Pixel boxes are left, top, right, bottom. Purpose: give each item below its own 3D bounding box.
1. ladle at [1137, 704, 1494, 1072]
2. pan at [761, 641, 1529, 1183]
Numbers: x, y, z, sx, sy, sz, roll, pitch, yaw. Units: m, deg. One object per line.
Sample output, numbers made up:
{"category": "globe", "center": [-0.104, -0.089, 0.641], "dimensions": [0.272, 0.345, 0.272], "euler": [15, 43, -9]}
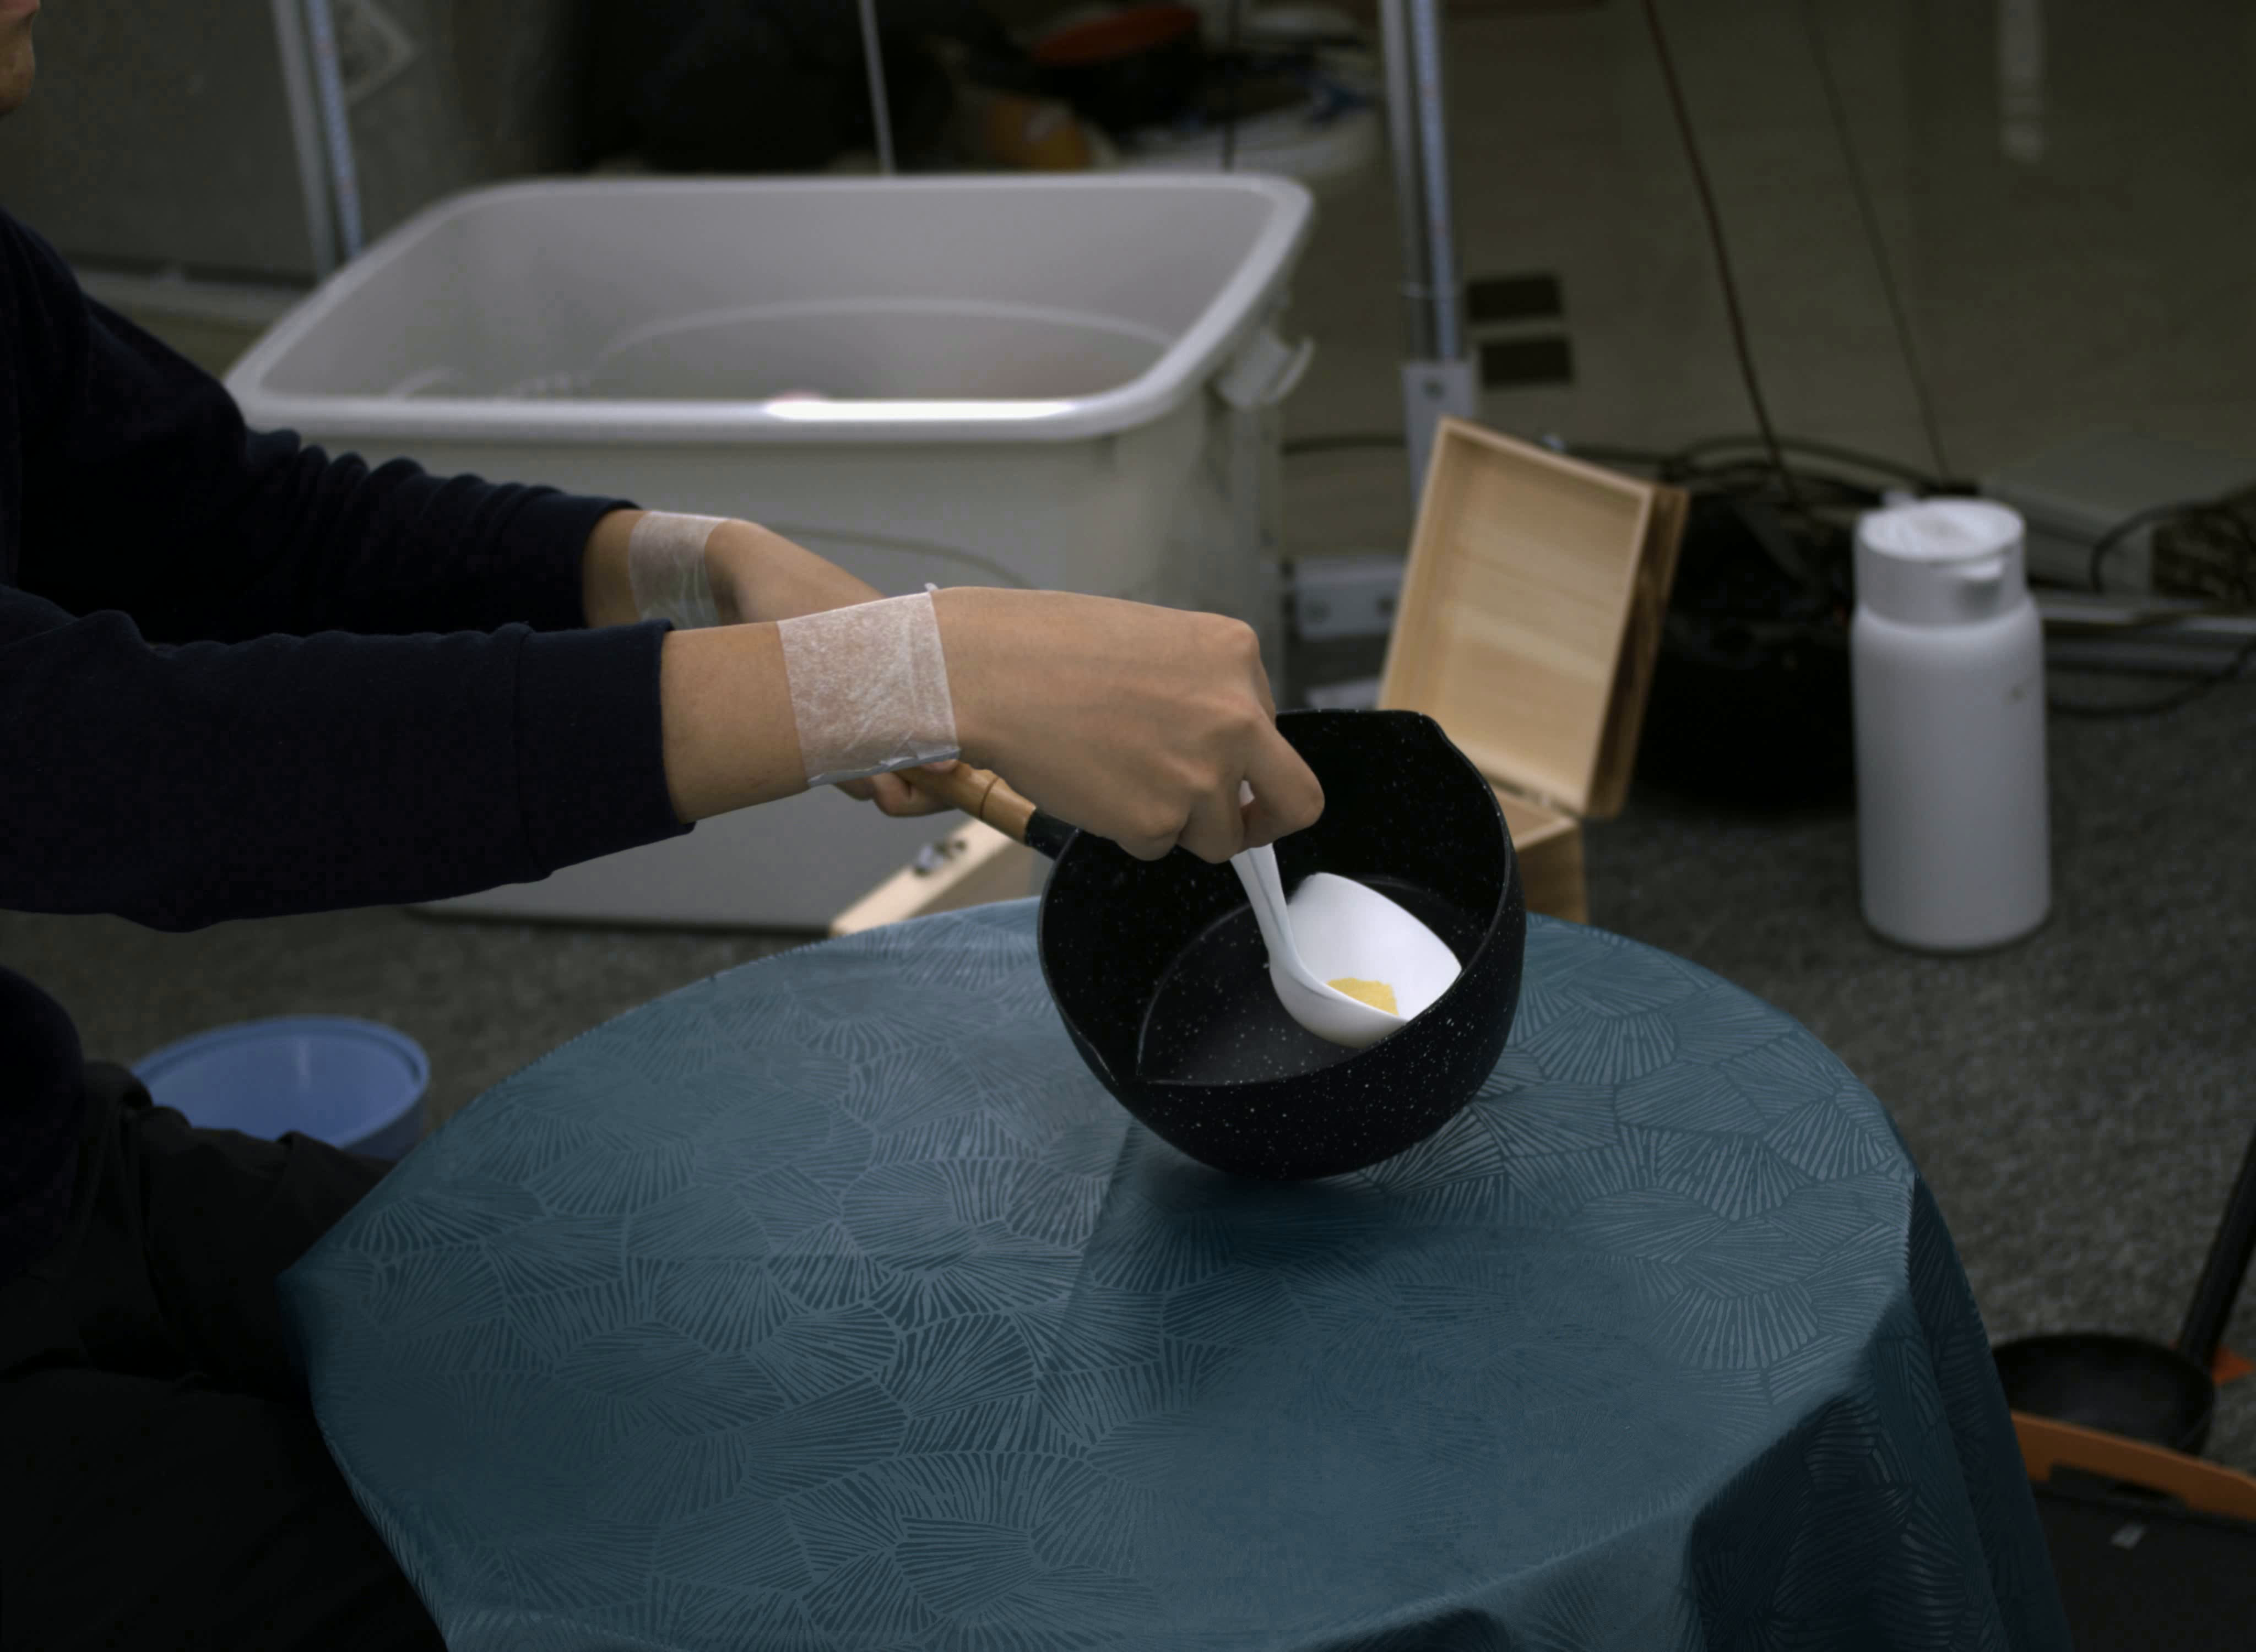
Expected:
{"category": "ladle", "center": [0.067, 0.017, 2.002], "dimensions": [0.070, 0.297, 0.089], "euler": [-34, 64, -1]}
{"category": "pan", "center": [0.000, 0.020, 2.190], "dimensions": [0.340, 0.110, 0.205], "euler": [22, 61, 32]}
